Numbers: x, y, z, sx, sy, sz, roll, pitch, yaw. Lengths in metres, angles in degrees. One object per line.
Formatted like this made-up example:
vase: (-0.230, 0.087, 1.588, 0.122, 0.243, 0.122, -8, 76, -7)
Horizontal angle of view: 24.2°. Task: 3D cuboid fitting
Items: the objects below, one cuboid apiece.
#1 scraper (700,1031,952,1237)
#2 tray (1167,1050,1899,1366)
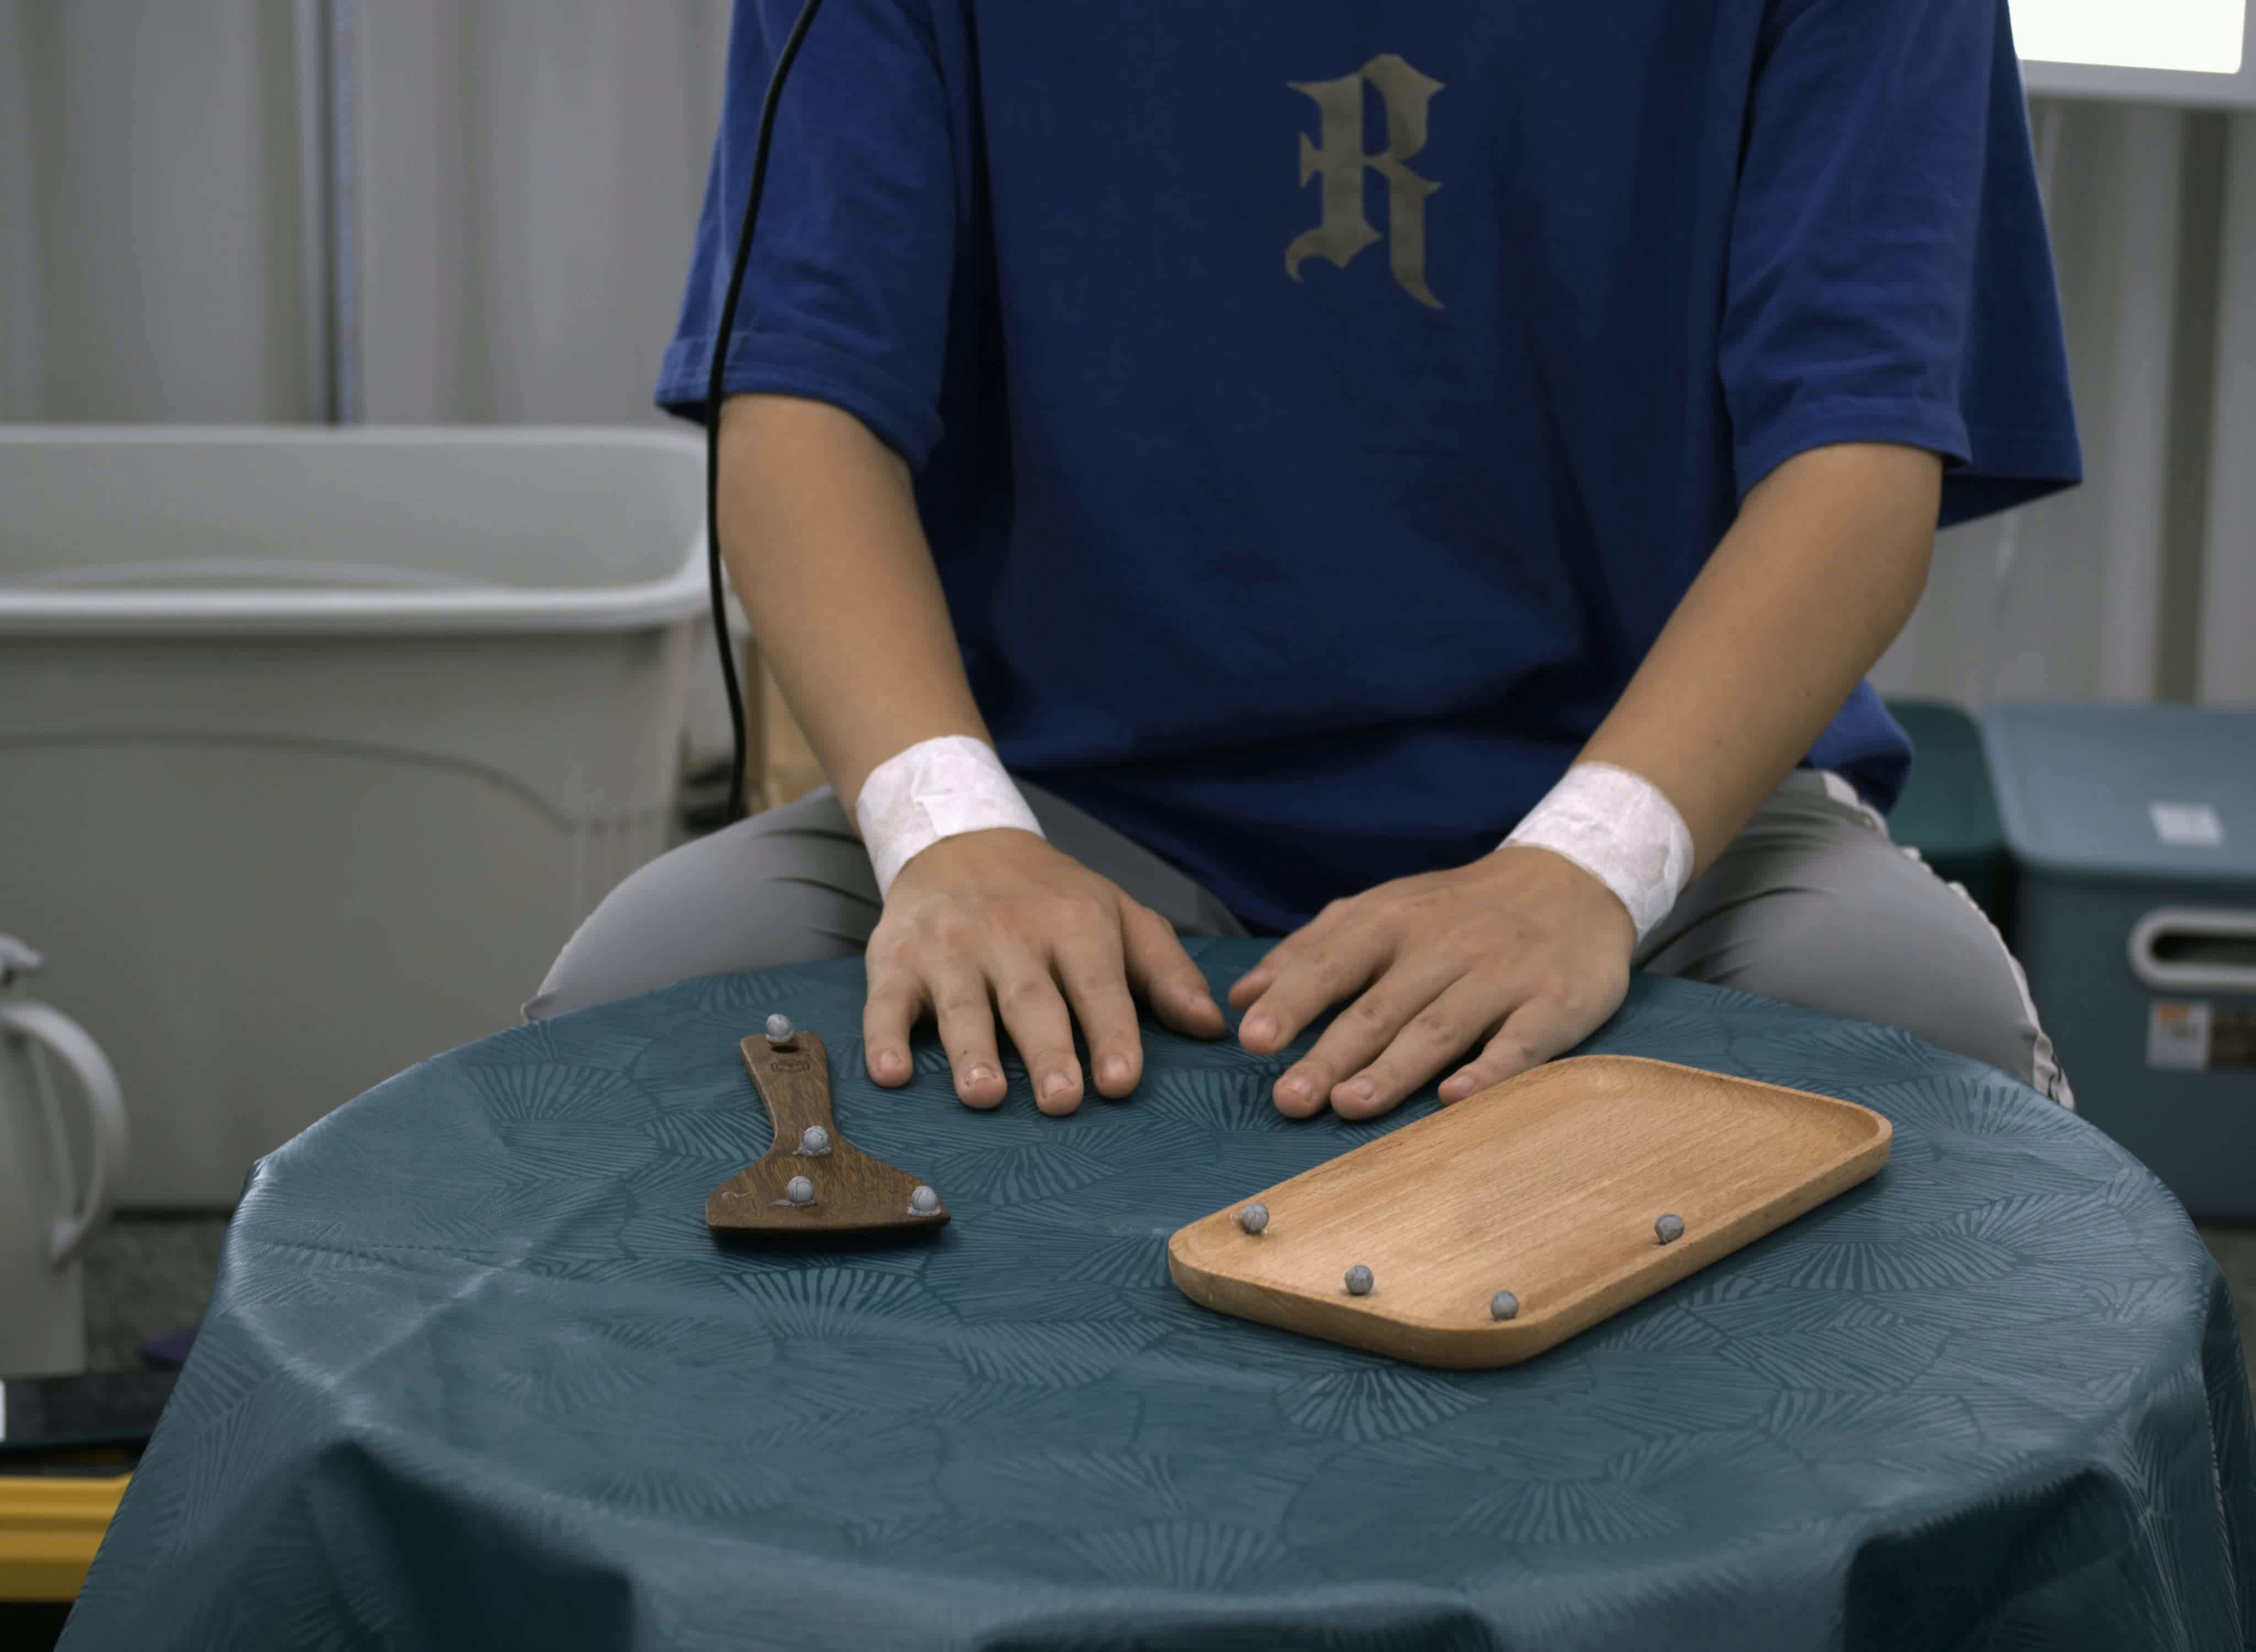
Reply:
scraper: (-0.102, 0.097, 1.659, 0.076, 0.011, 0.209, 0, 14, -8)
tray: (0.126, 0.113, 1.593, 0.129, 0.023, 0.252, 15, 20, 35)
